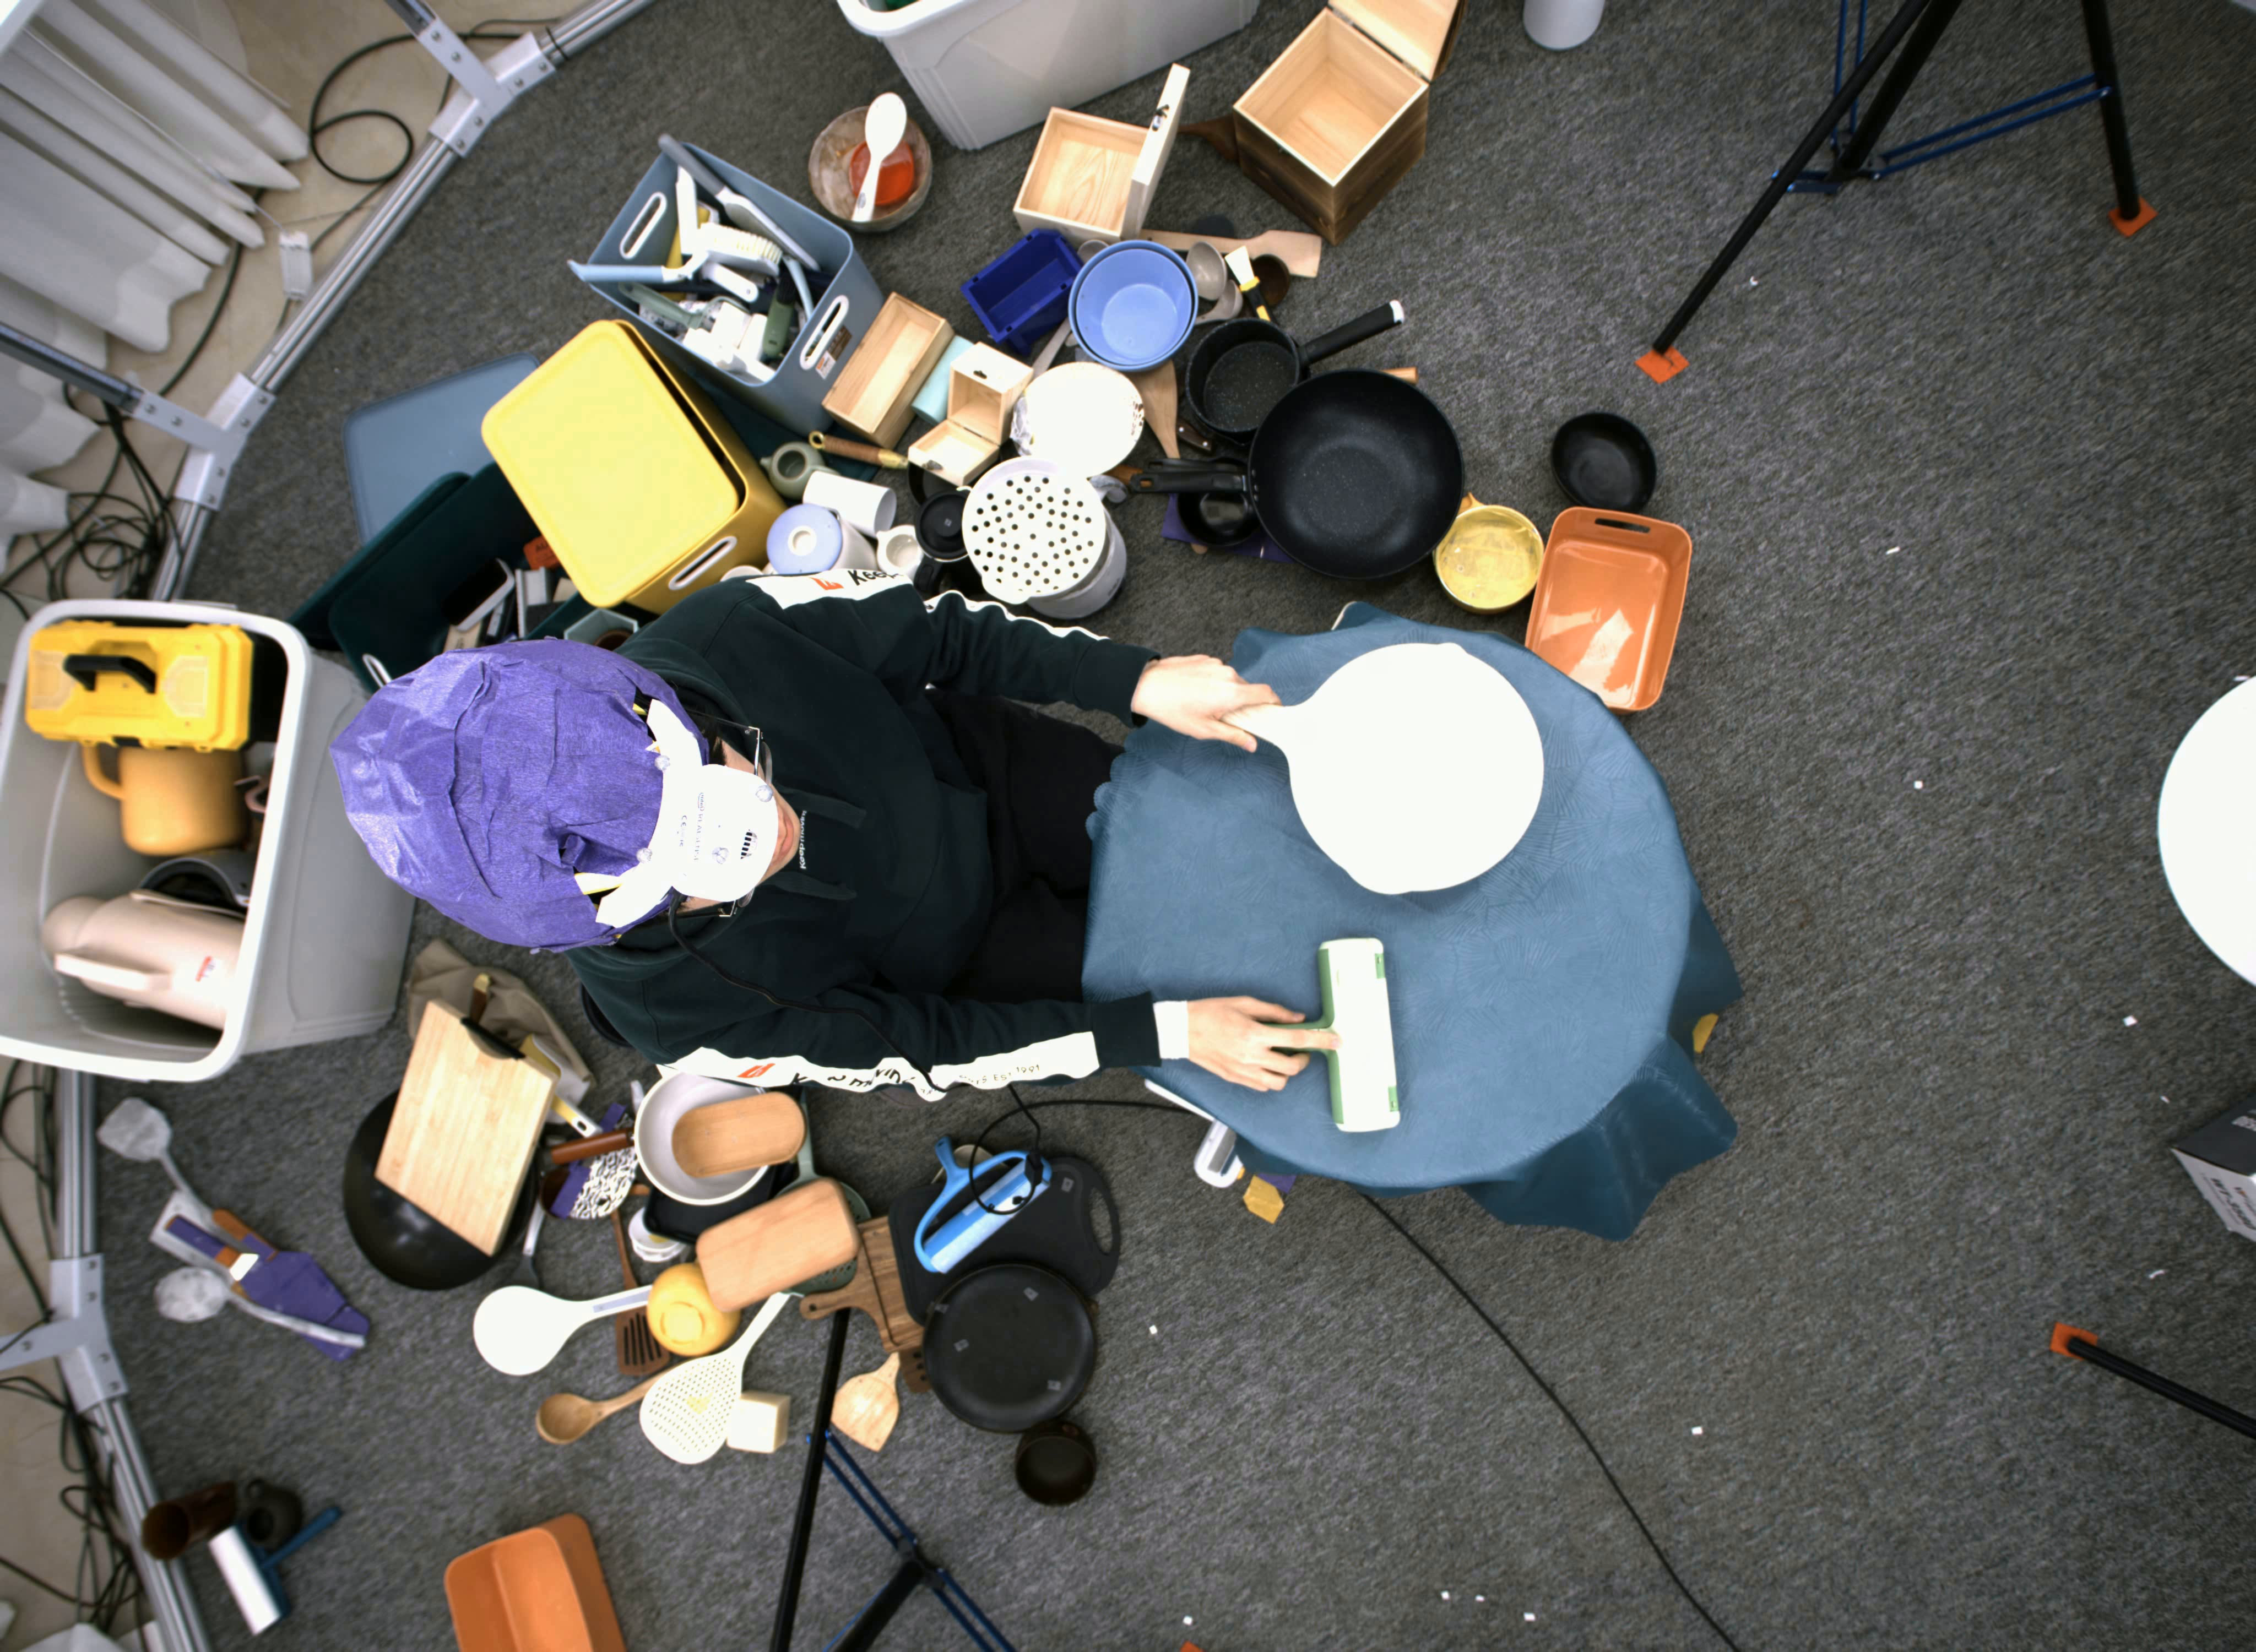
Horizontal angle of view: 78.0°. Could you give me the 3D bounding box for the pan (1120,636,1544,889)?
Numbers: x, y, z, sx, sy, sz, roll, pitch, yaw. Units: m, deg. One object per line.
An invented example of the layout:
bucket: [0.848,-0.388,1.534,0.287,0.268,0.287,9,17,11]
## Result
pan: [0.207,-0.090,1.425,0.435,0.102,0.263,17,91,12]

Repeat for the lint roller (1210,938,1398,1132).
lint roller: [0.178,0.217,1.422,0.183,0.082,0.197,-4,86,0]
